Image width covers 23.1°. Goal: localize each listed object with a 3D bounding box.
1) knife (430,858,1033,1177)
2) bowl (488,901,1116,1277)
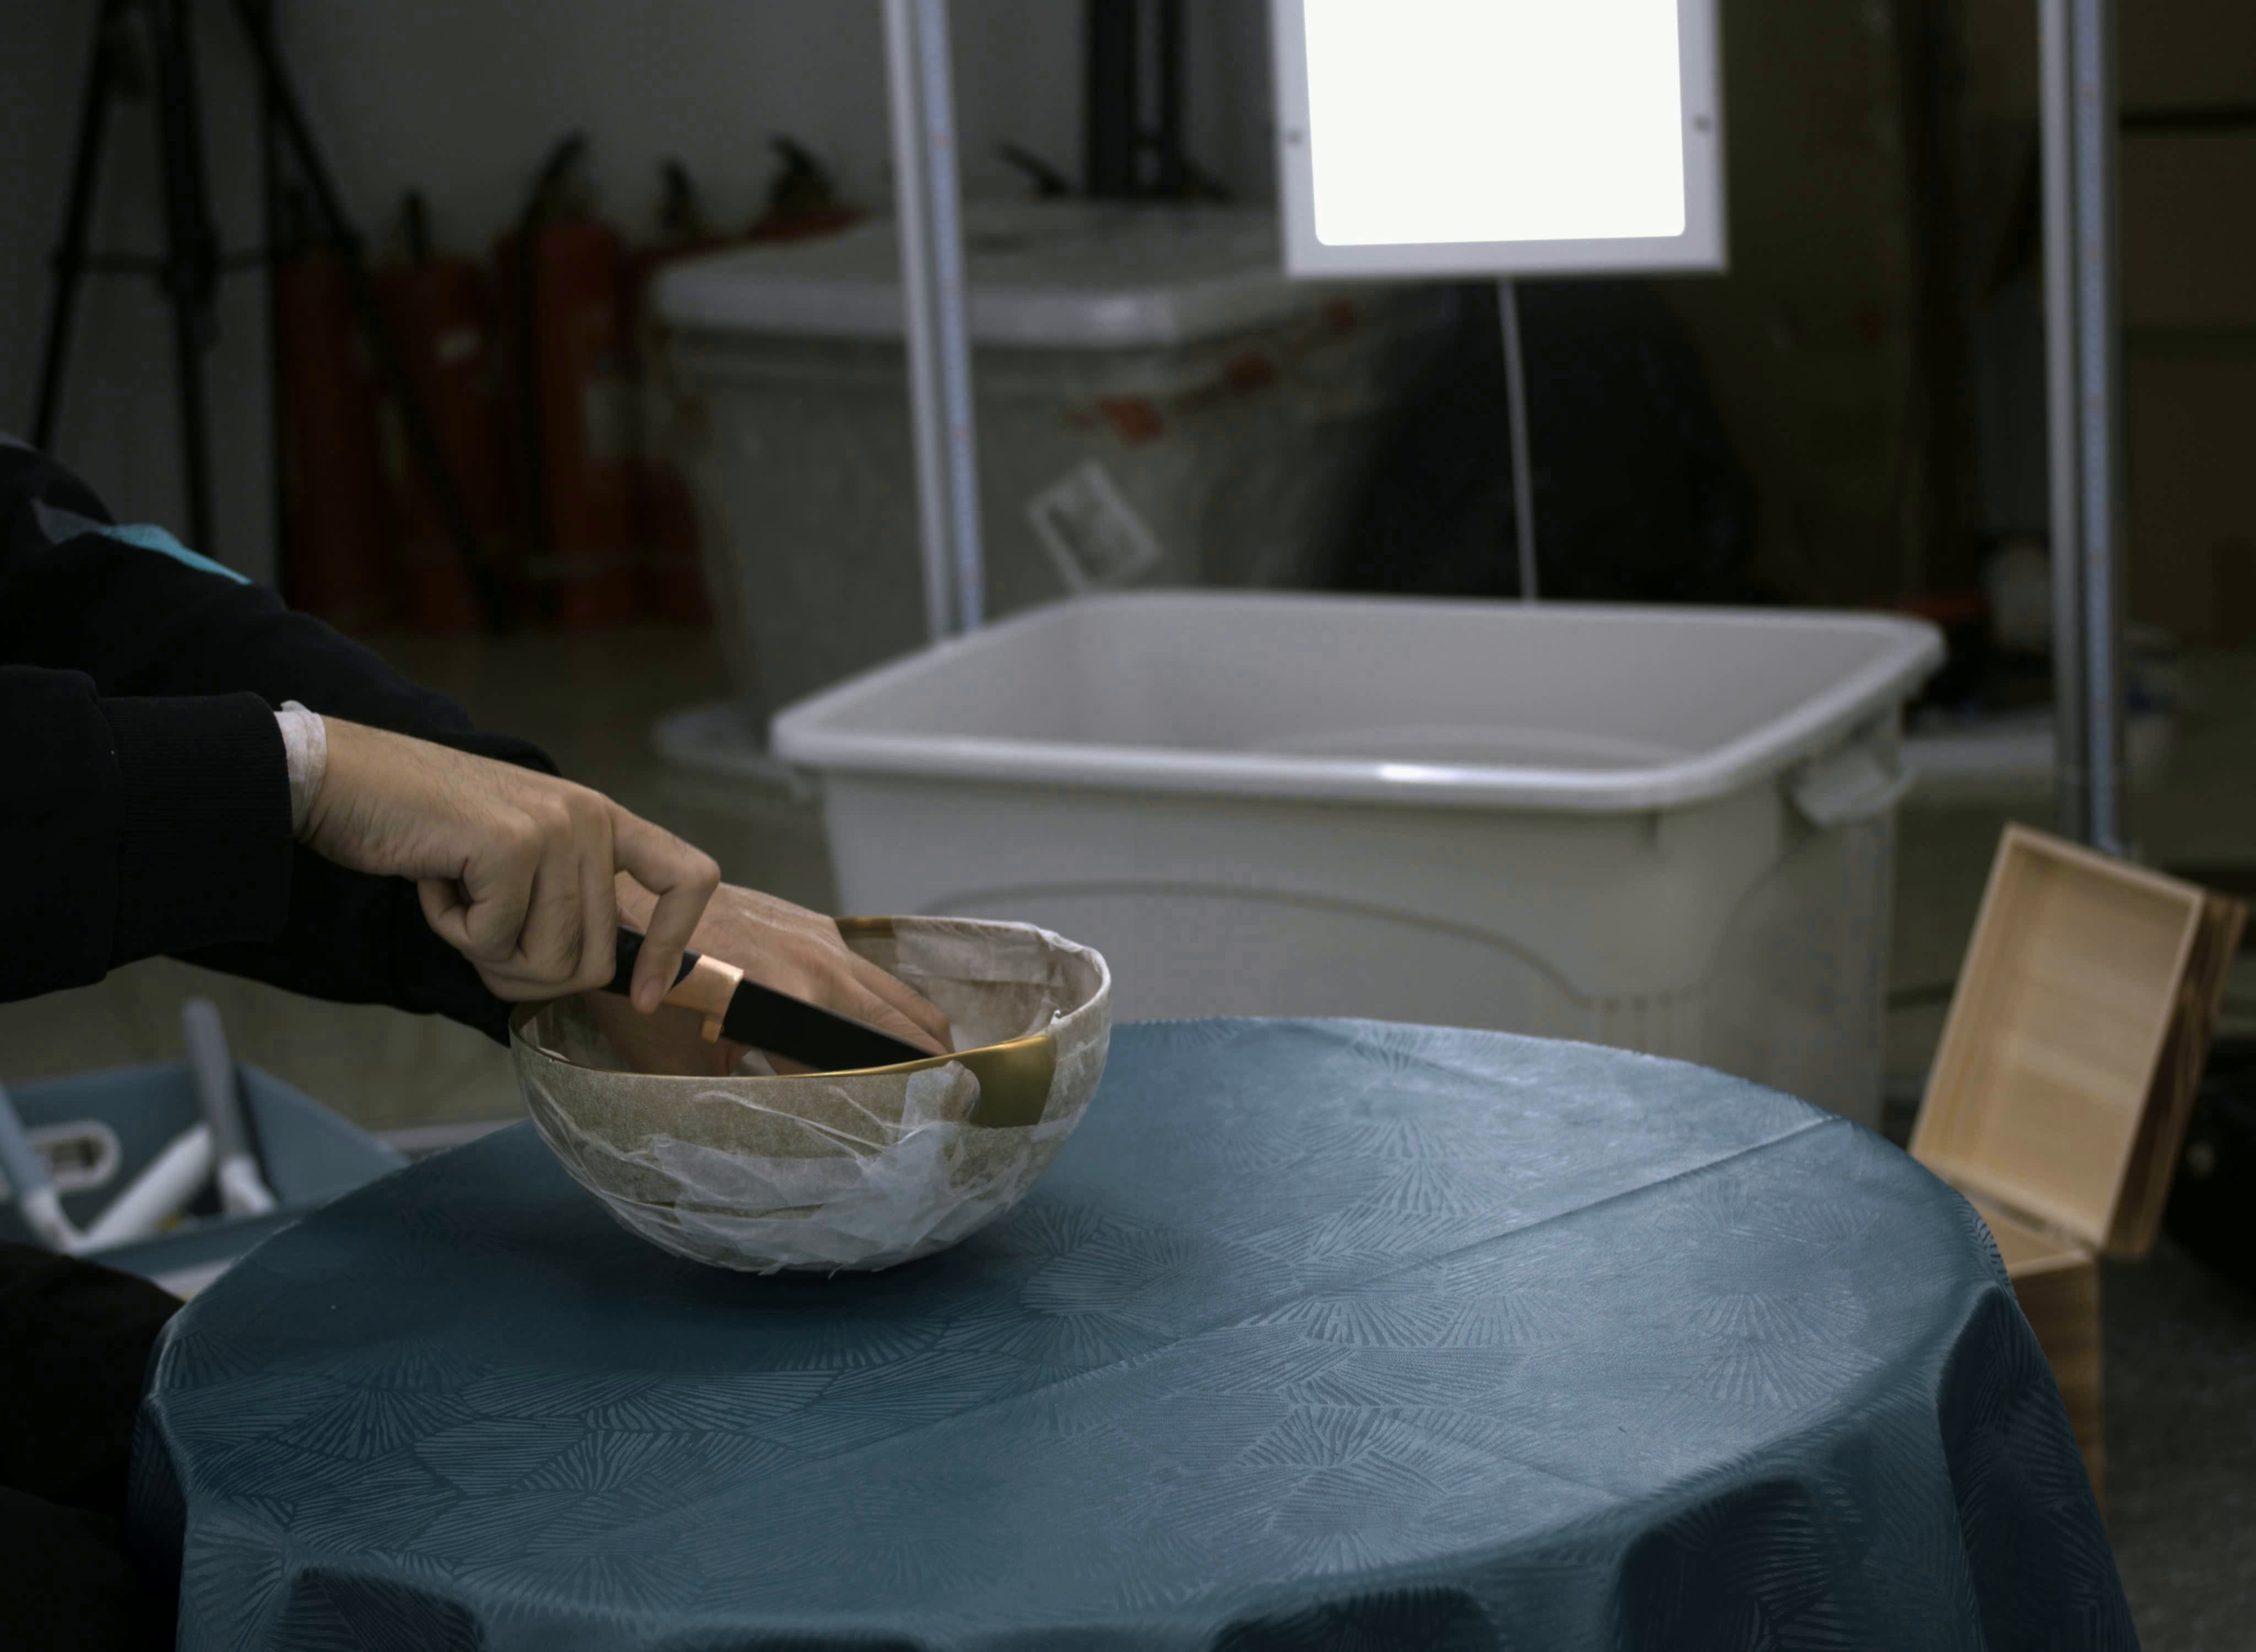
[{"bbox_3d":[-0.131,0.064,1.835,0.224,0.026,0.017,25,2,-4],"label":"knife"},{"bbox_3d":[-0.107,0.097,1.854,0.214,0.095,0.214,-4,15,0],"label":"bowl"}]
